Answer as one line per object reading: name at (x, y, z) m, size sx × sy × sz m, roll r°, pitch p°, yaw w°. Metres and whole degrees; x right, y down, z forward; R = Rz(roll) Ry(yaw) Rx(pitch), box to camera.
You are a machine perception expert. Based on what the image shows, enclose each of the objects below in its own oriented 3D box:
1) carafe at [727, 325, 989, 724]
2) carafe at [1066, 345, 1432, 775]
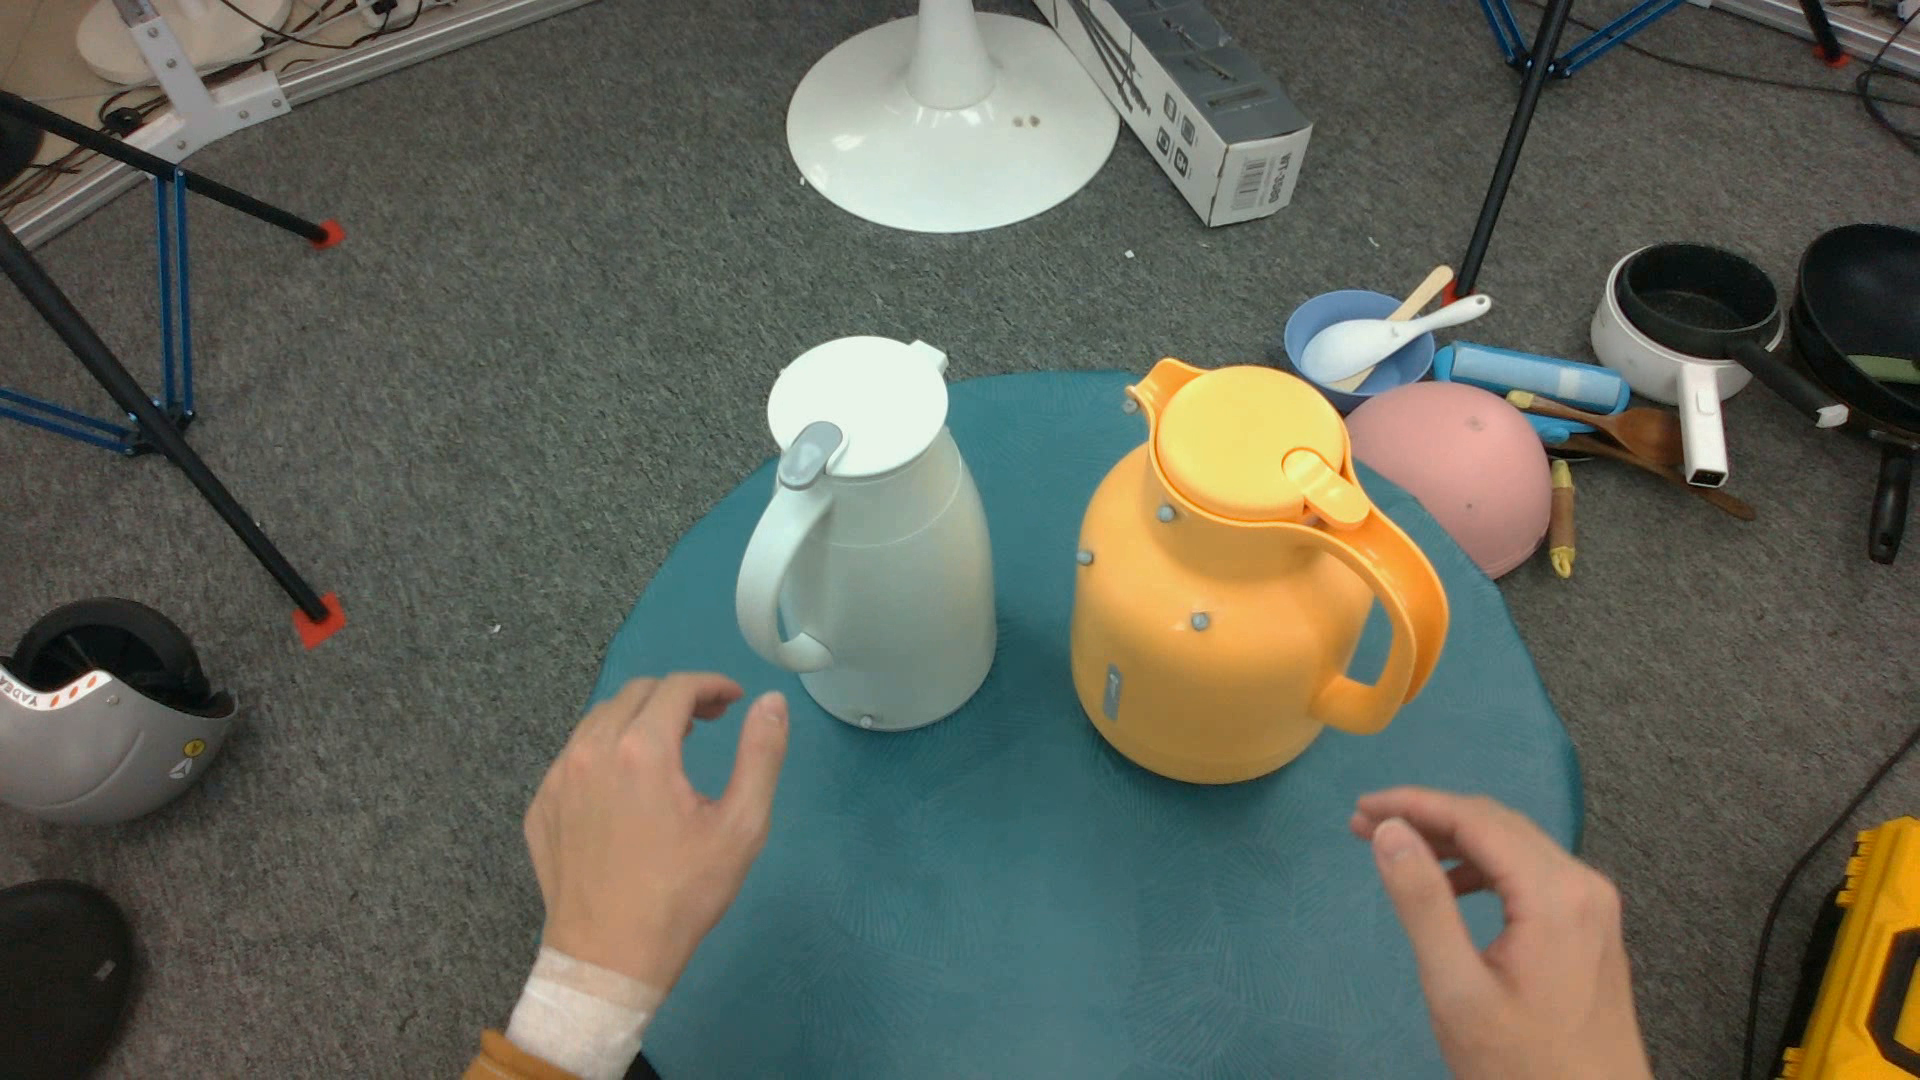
carafe at (-0.062, 0.005, 0.777) m, size 0.132 × 0.247 × 0.168 m, roll 28°, pitch 62°, yaw 20°
carafe at (0.152, 0.024, 0.749) m, size 0.164 × 0.259 × 0.202 m, roll -37°, pitch 61°, yaw -18°
